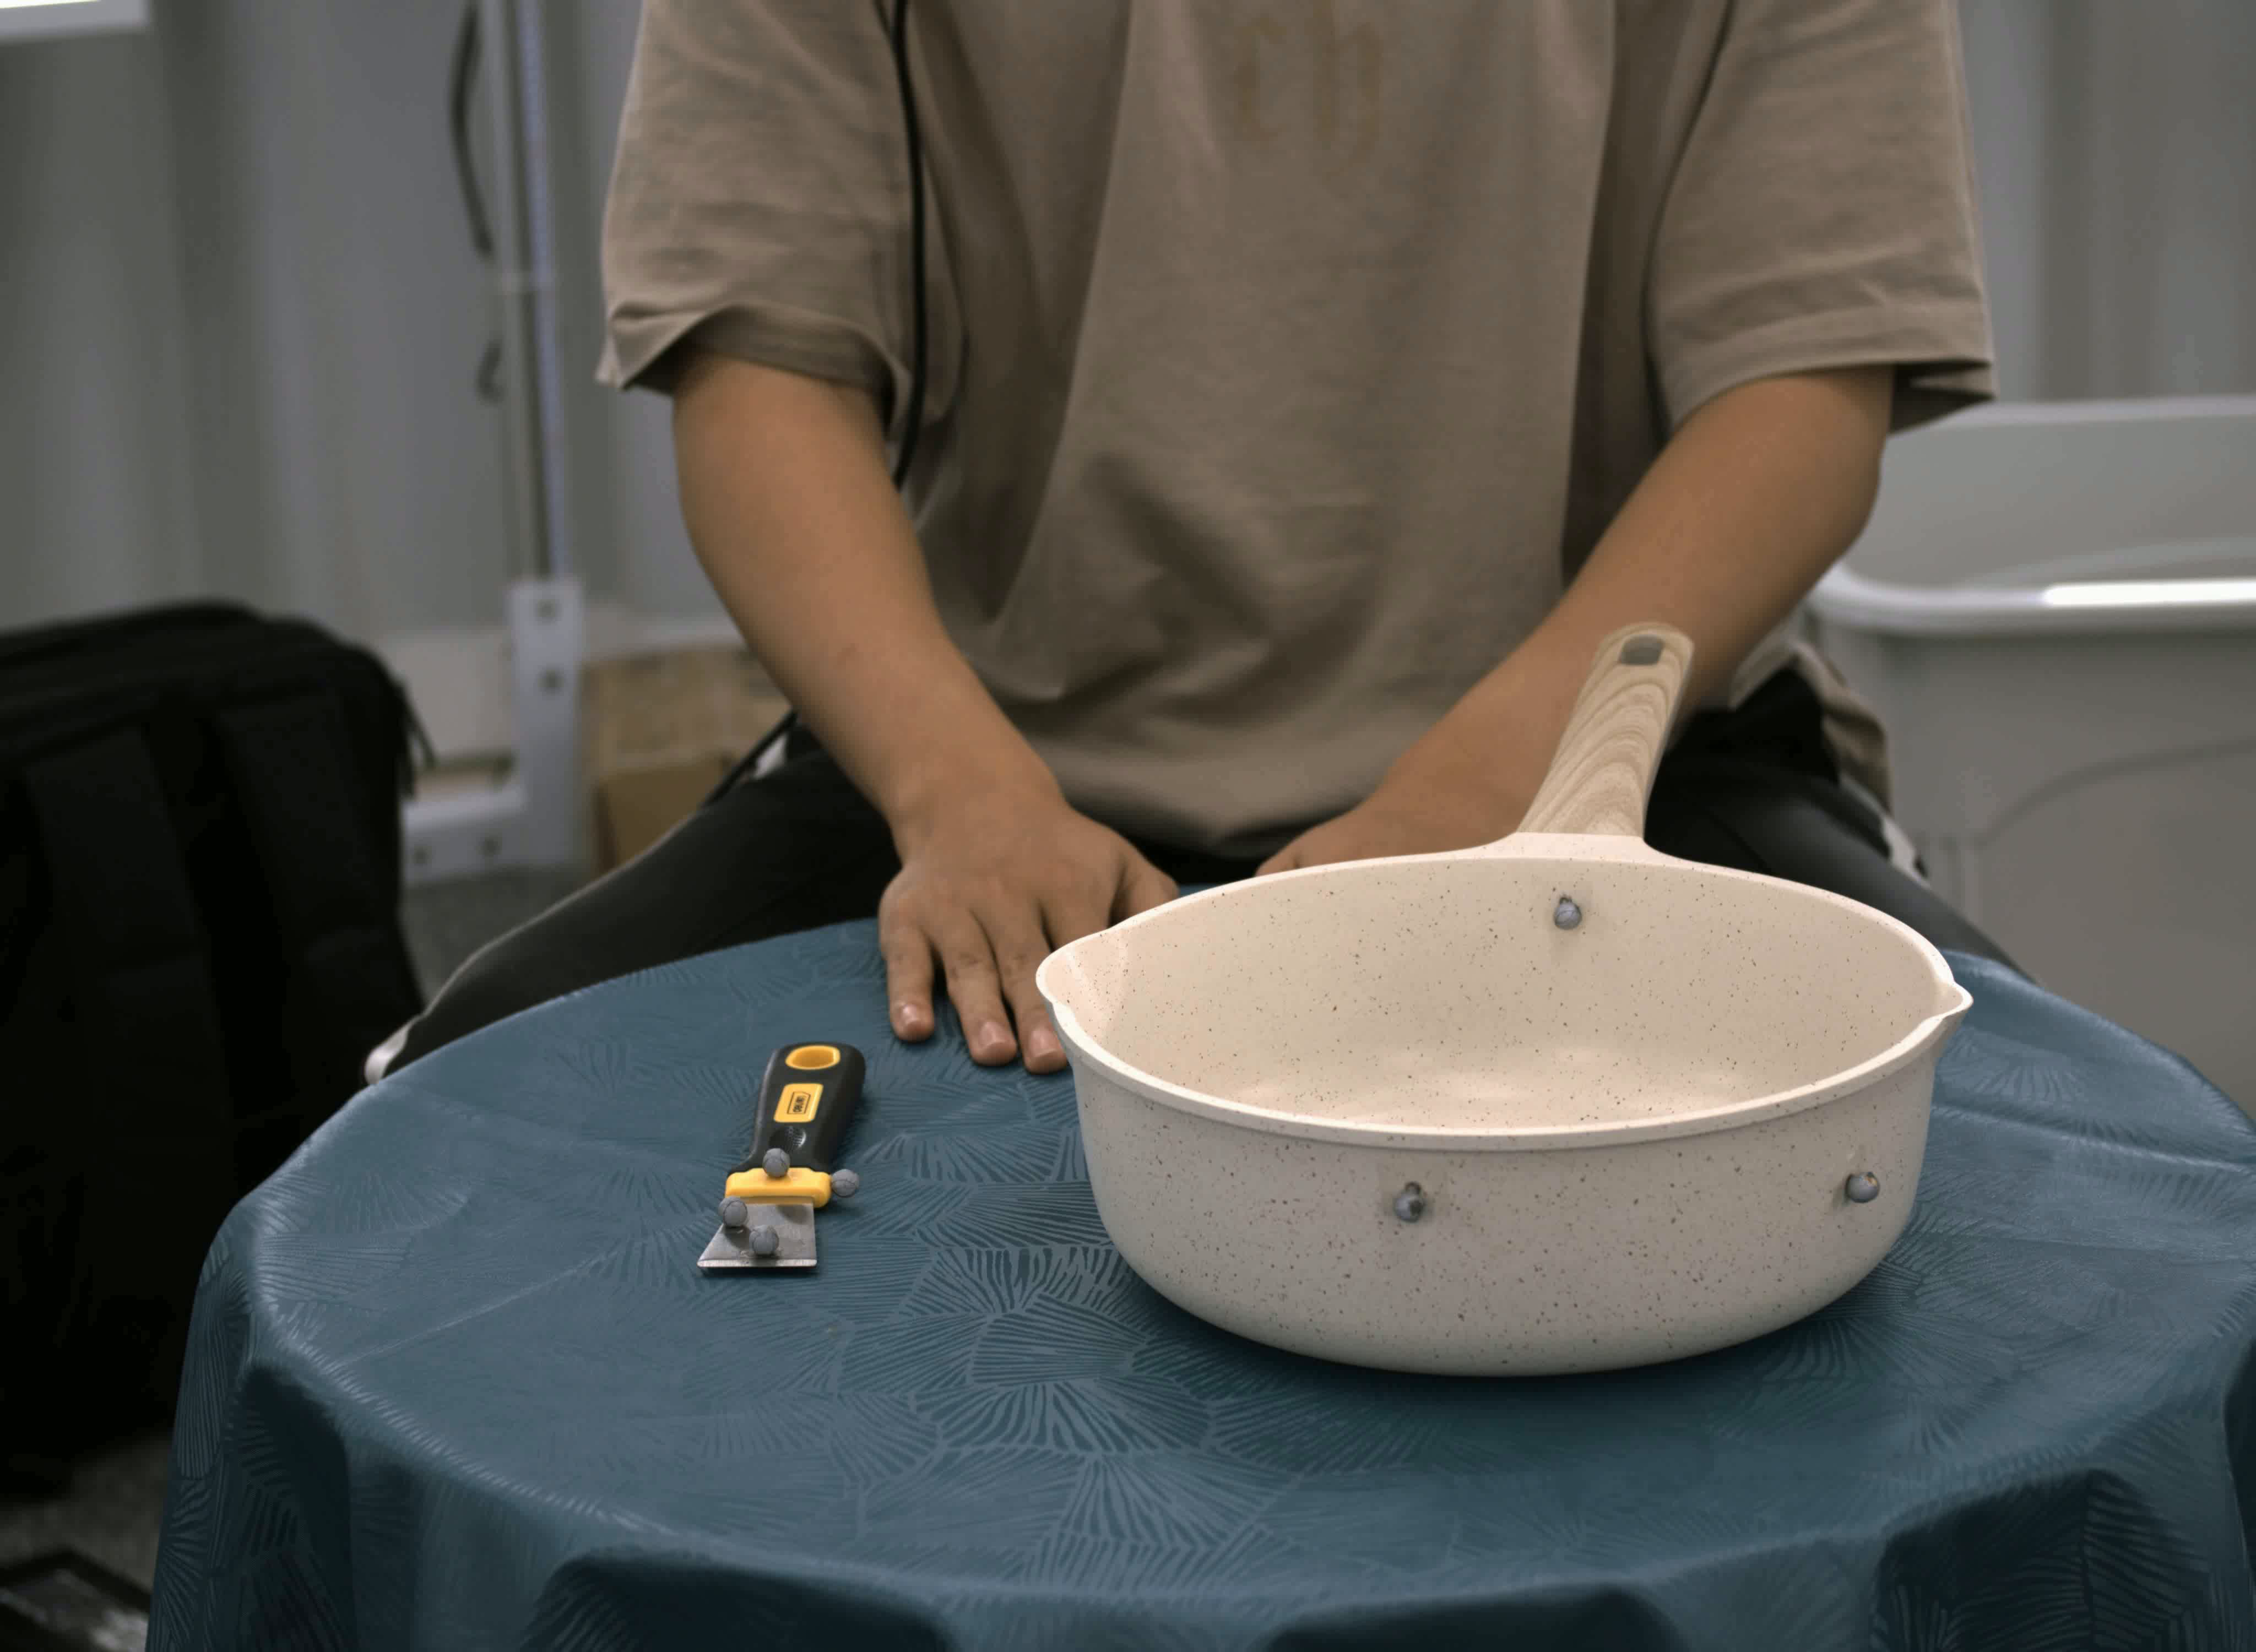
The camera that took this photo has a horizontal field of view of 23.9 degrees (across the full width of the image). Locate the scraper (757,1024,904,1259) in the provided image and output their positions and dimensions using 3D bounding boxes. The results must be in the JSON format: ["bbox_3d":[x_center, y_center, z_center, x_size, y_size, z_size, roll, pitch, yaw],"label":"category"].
[{"bbox_3d":[-0.085,0.093,1.578,0.039,0.015,0.171,-9,18,3],"label":"scraper"}]

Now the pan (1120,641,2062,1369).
[{"bbox_3d":[0.149,0.048,1.563,0.265,0.102,0.432,-1,16,14],"label":"pan"}]
